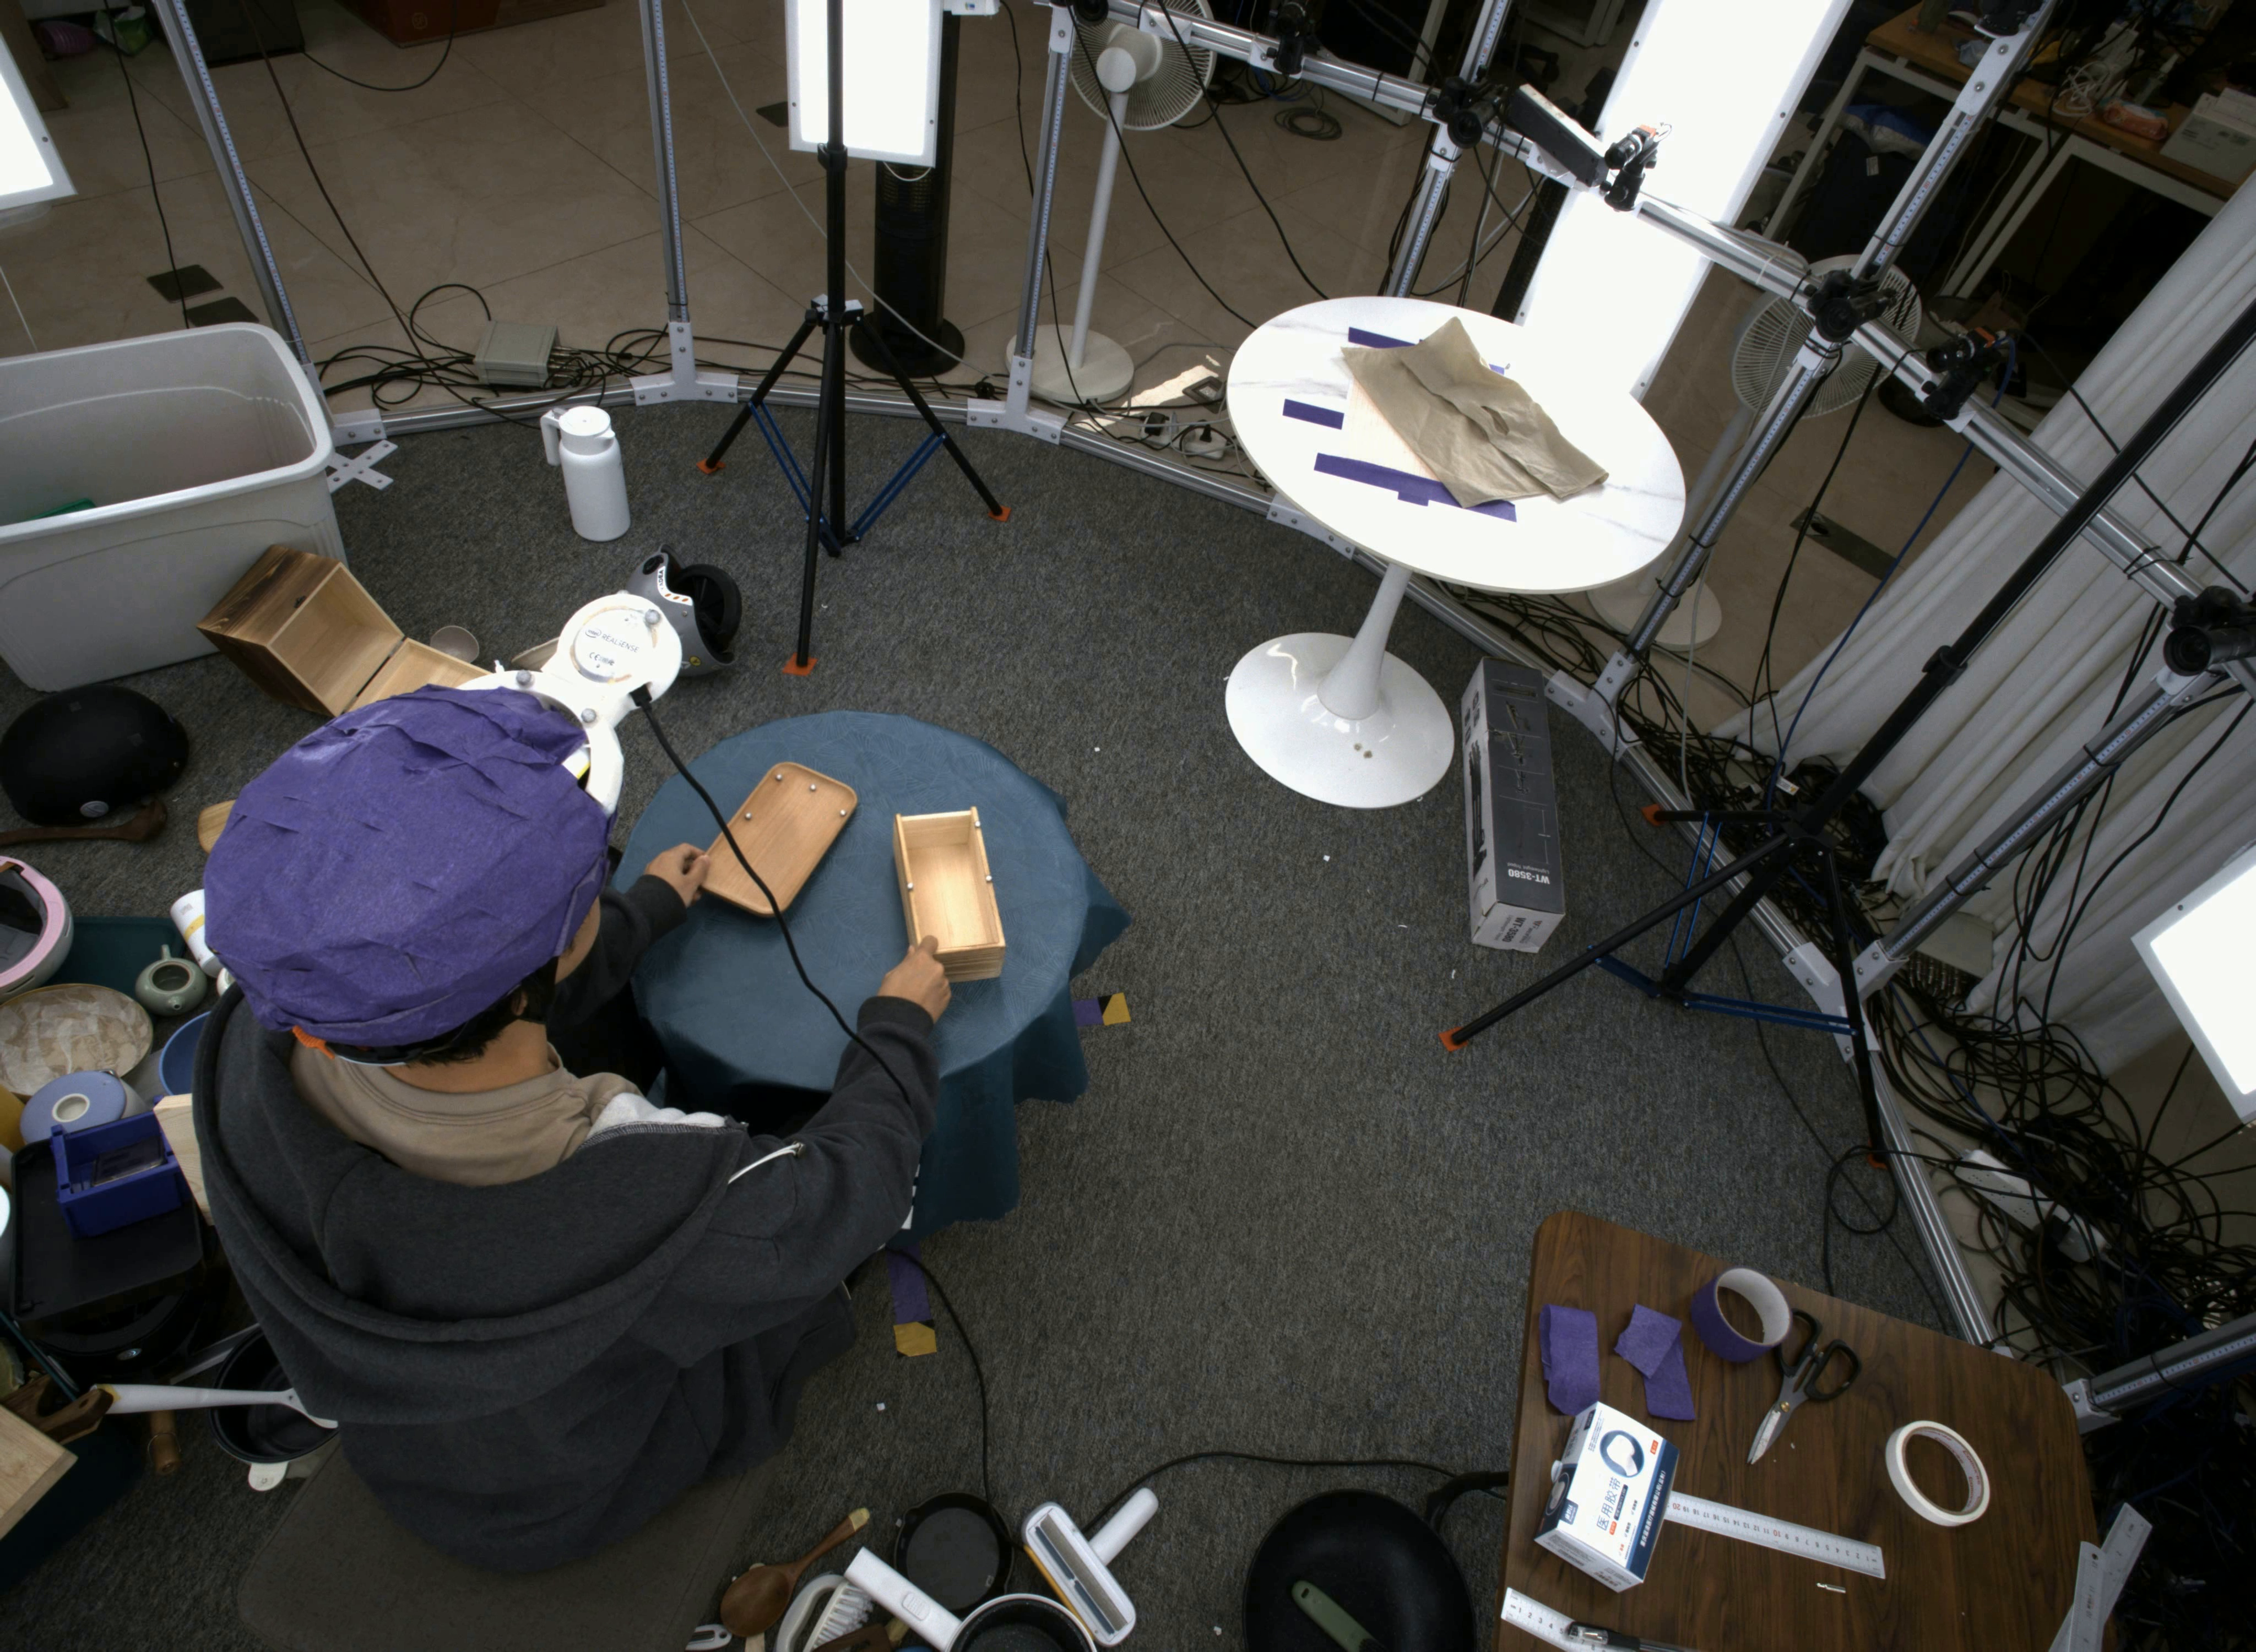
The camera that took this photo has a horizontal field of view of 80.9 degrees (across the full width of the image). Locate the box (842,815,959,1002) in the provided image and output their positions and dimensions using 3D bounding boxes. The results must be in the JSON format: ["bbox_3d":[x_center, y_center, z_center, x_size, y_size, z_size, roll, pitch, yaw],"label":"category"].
[{"bbox_3d":[-0.288,0.100,1.632,0.108,0.081,0.207,-9,59,-19],"label":"box"}]

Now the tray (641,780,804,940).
[{"bbox_3d":[-0.513,0.038,1.645,0.129,0.023,0.247,20,45,0],"label":"tray"}]
